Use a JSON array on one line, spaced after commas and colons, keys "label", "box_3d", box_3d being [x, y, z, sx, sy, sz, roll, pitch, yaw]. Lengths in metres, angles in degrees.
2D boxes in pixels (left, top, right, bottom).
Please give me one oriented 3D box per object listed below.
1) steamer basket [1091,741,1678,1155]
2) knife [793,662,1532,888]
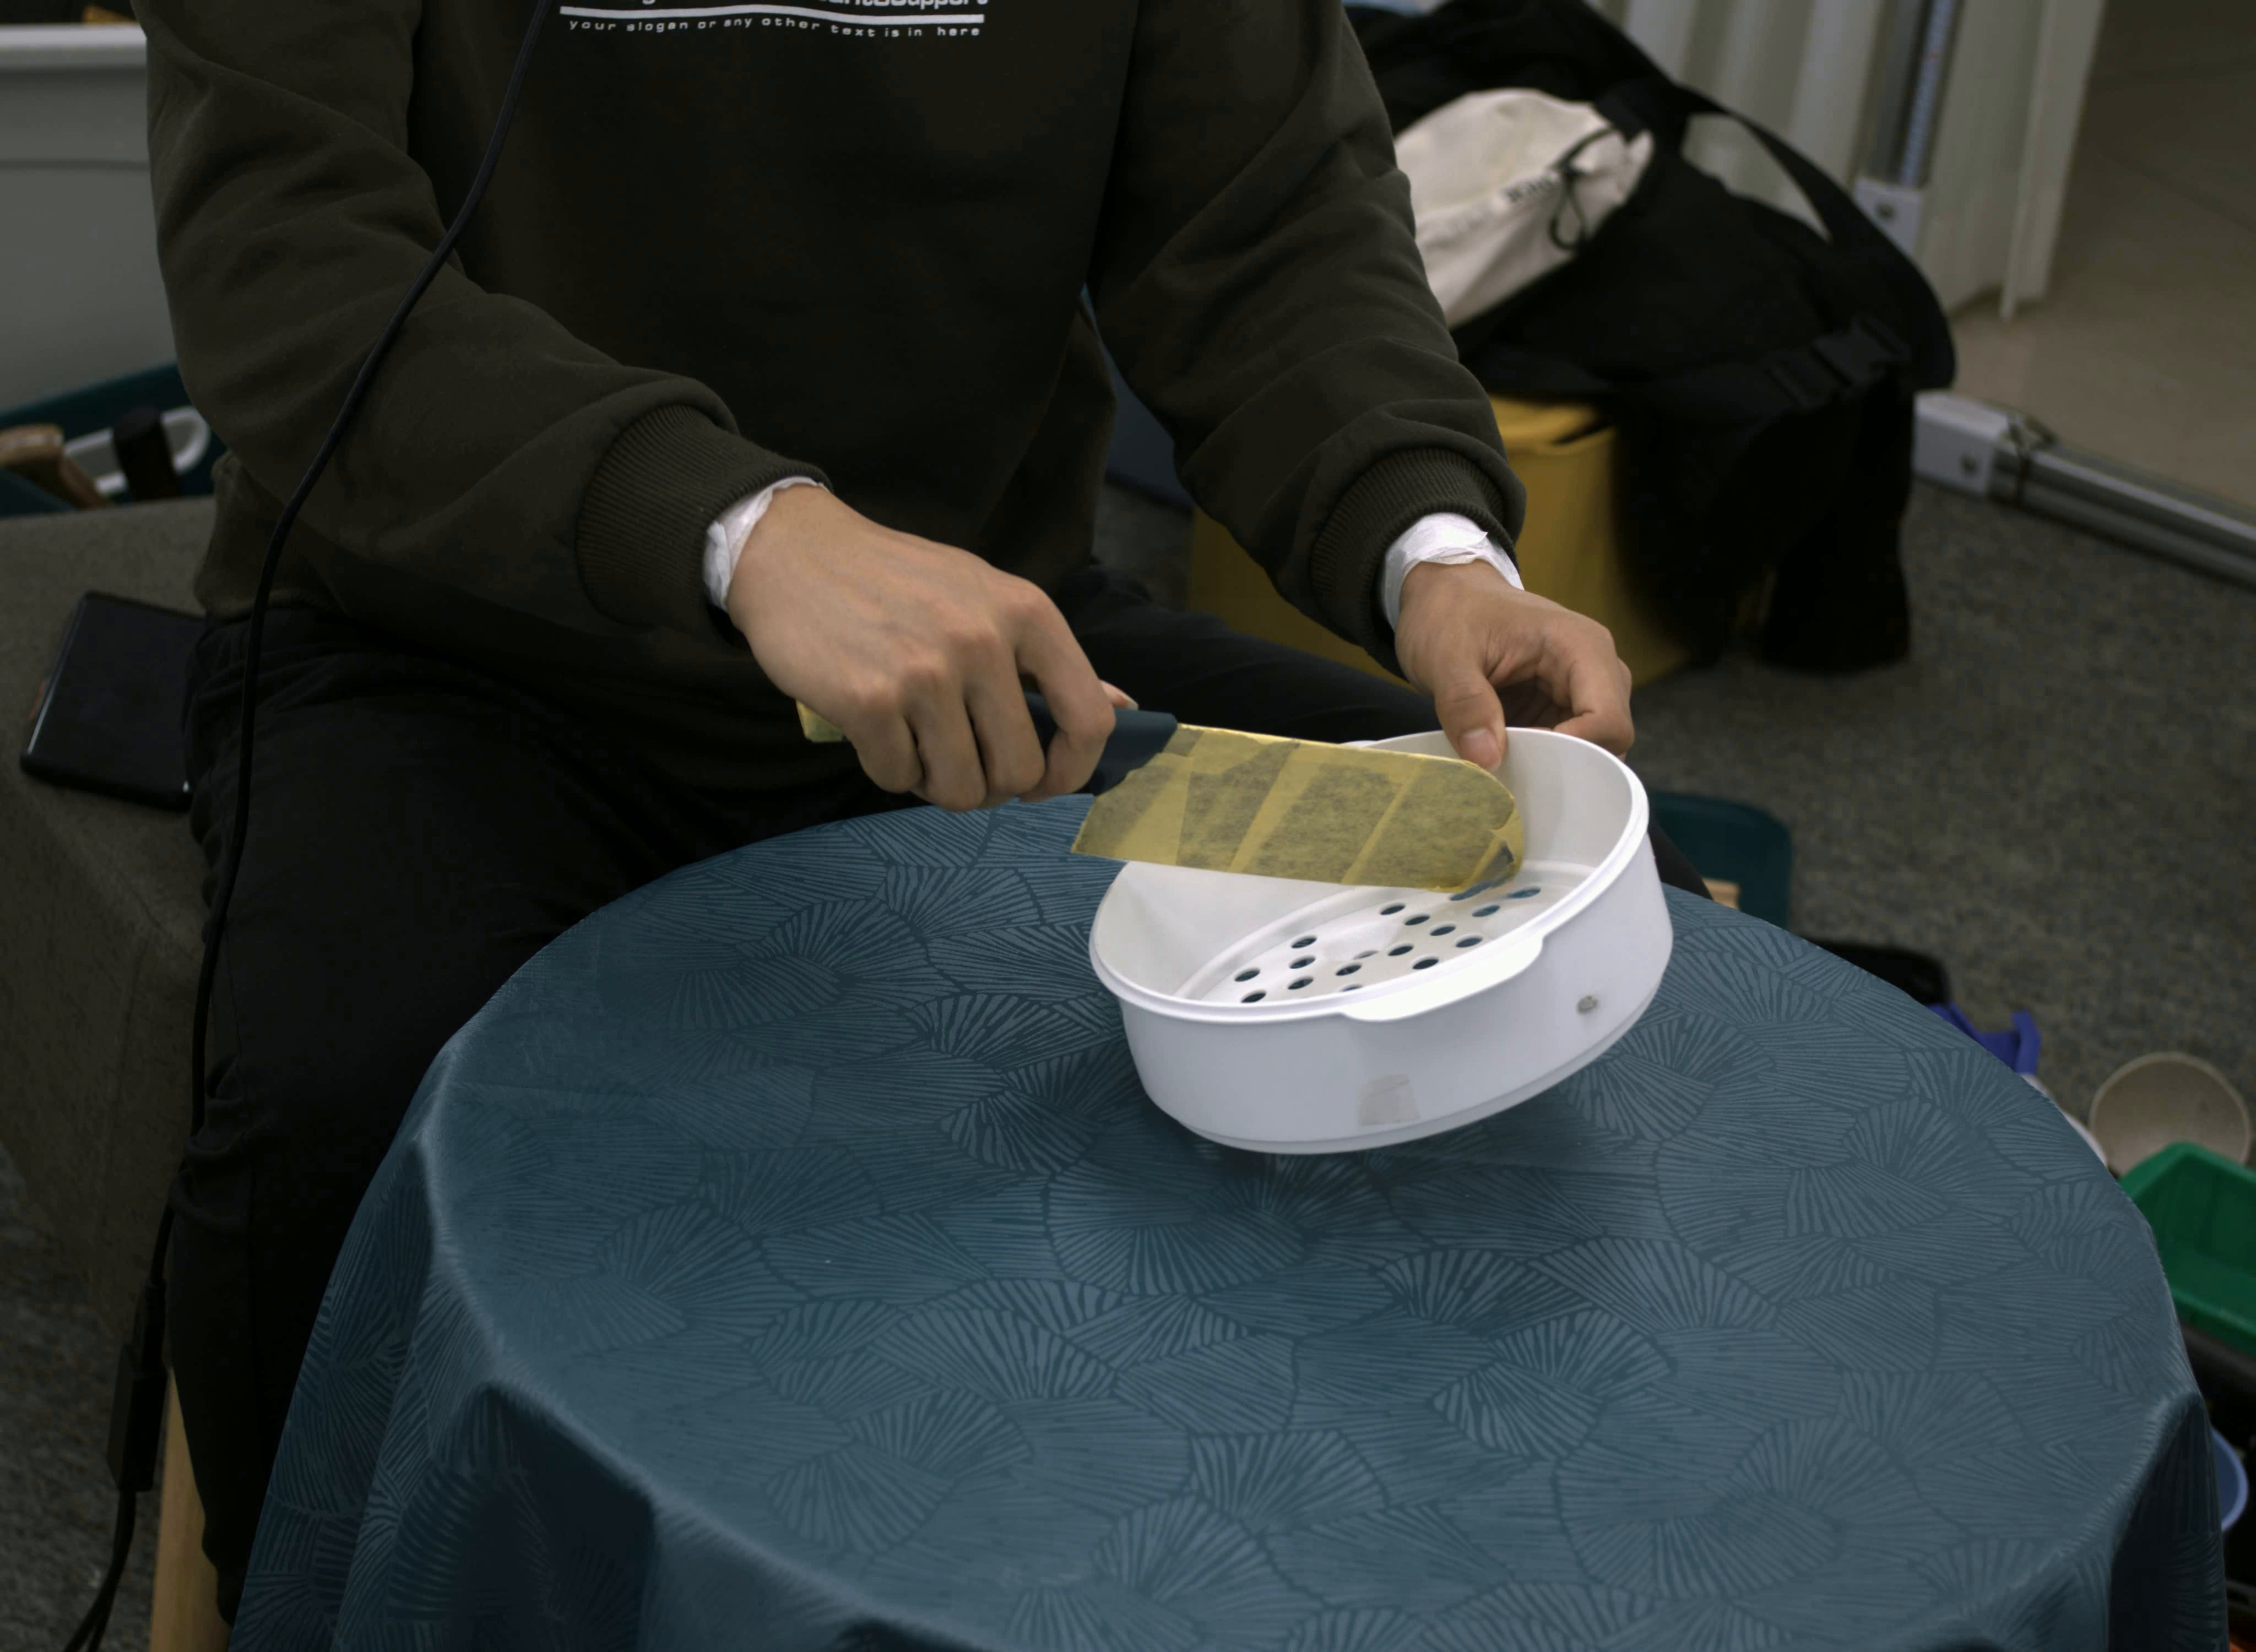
[{"label": "steamer basket", "box_3d": [0.091, 0.043, 1.848, 0.201, 0.069, 0.232, -19, 22, -5]}, {"label": "knife", "box_3d": [0.013, -0.015, 1.859, 0.287, 0.081, 0.027, 11, 43, -22]}]
